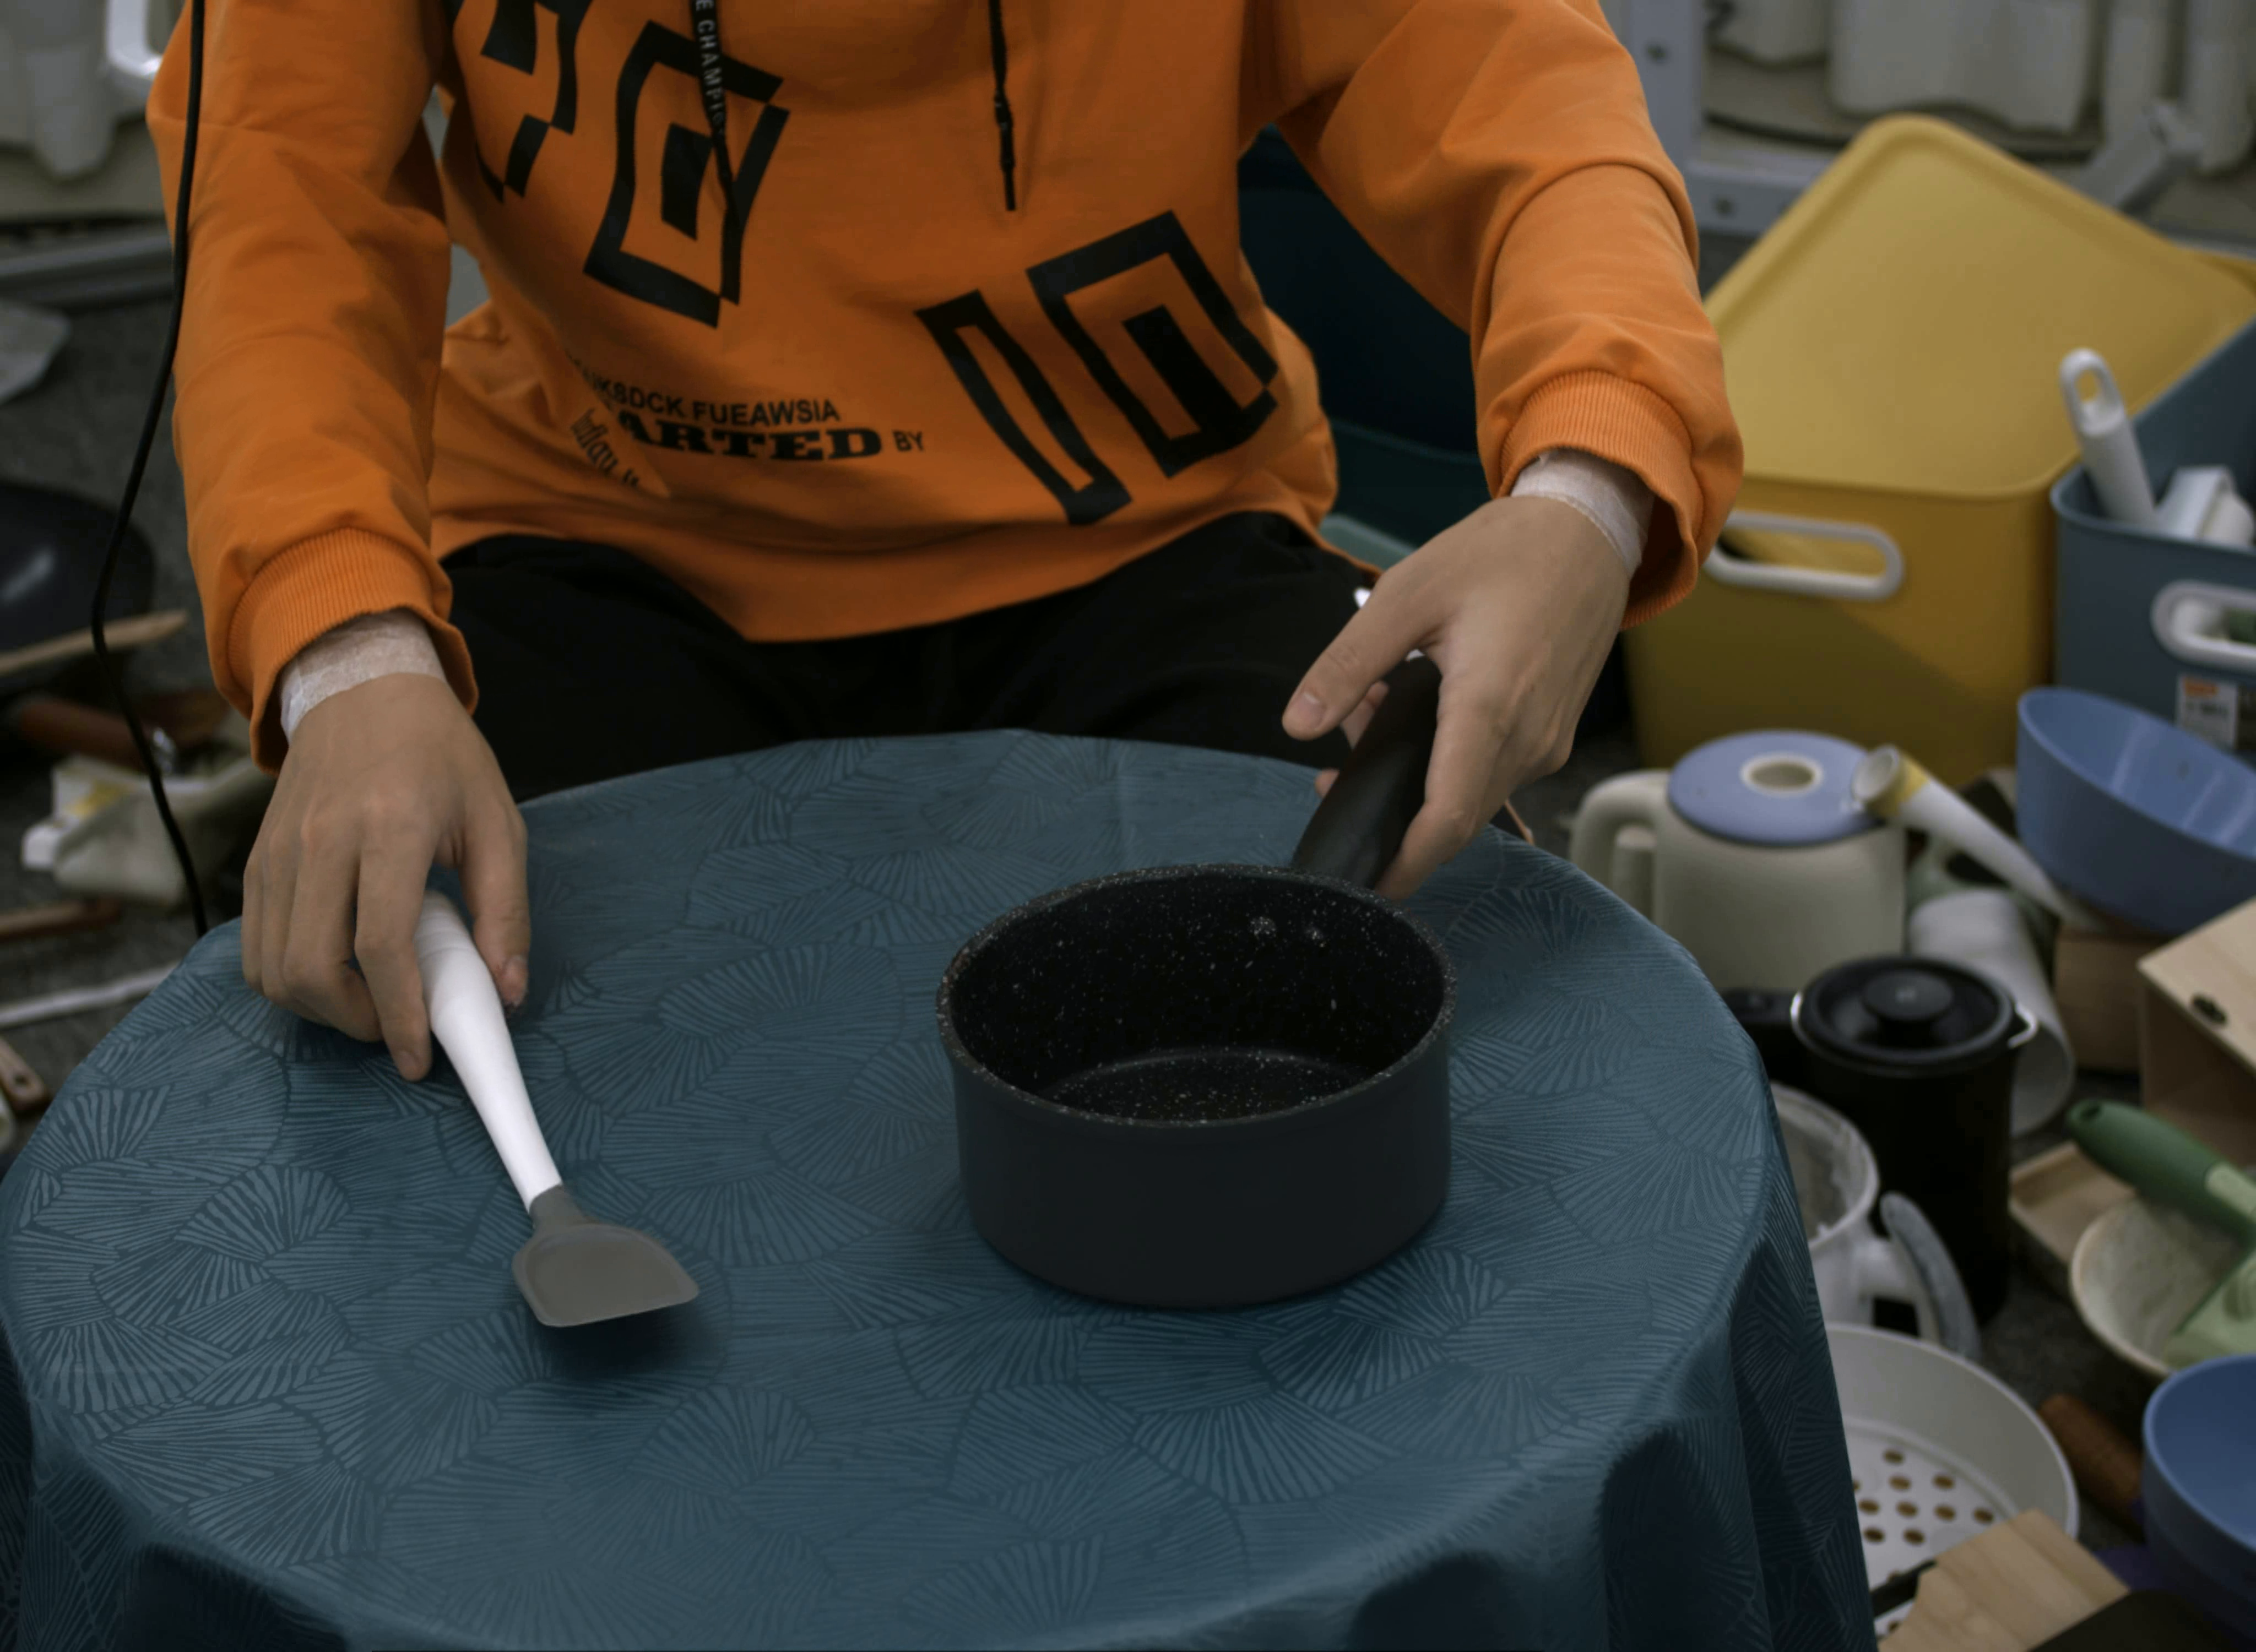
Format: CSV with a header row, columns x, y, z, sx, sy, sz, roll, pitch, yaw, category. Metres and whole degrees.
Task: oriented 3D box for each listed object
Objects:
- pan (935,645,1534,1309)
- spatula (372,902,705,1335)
x,y,z,sx,sy,sz,roll,pitch,yaw,category
0.059,0.047,1.909,0.171,0.085,0.334,11,32,24,pan
-0.205,0.102,1.885,0.059,0.032,0.290,-6,27,-19,spatula
